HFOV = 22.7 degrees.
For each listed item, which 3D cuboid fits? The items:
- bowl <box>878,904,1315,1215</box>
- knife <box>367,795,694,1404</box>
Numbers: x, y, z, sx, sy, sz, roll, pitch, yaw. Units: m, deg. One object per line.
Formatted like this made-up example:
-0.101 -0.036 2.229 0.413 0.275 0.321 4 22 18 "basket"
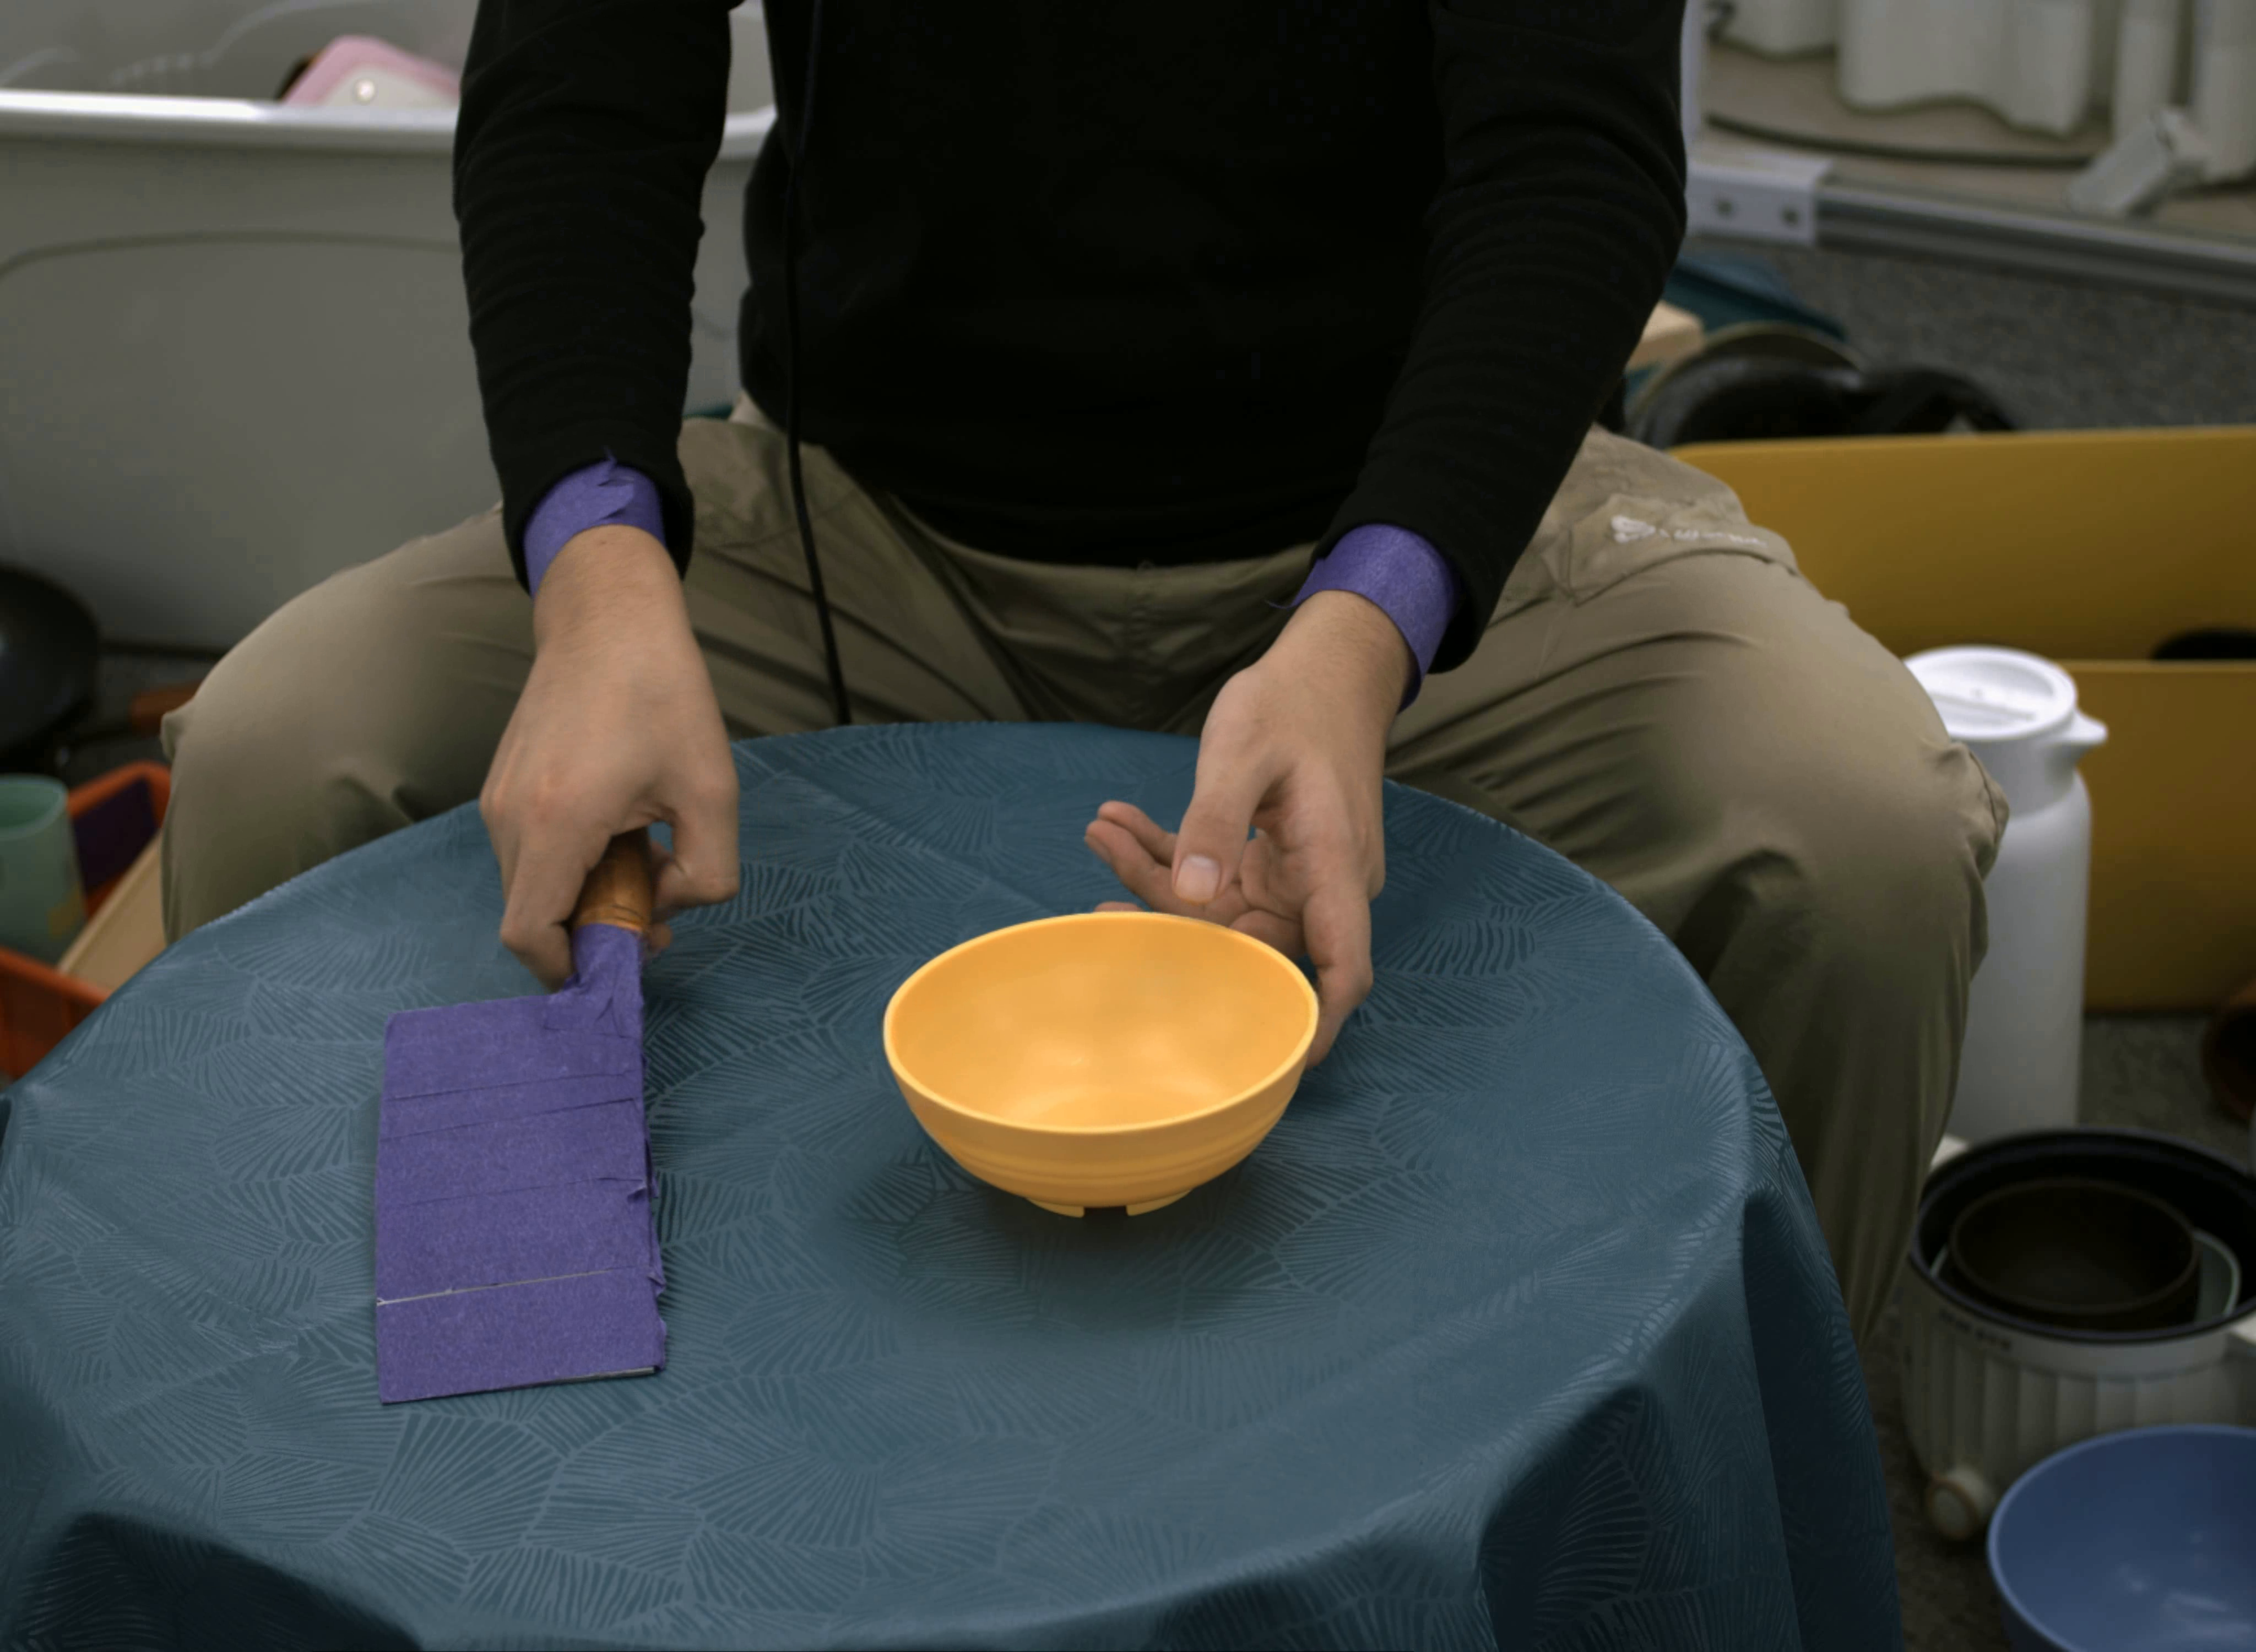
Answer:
-0.010 0.087 1.861 0.144 0.059 0.147 -1 28 1 "bowl"
-0.204 0.087 1.892 0.103 0.032 0.320 -5 32 -4 "knife"
